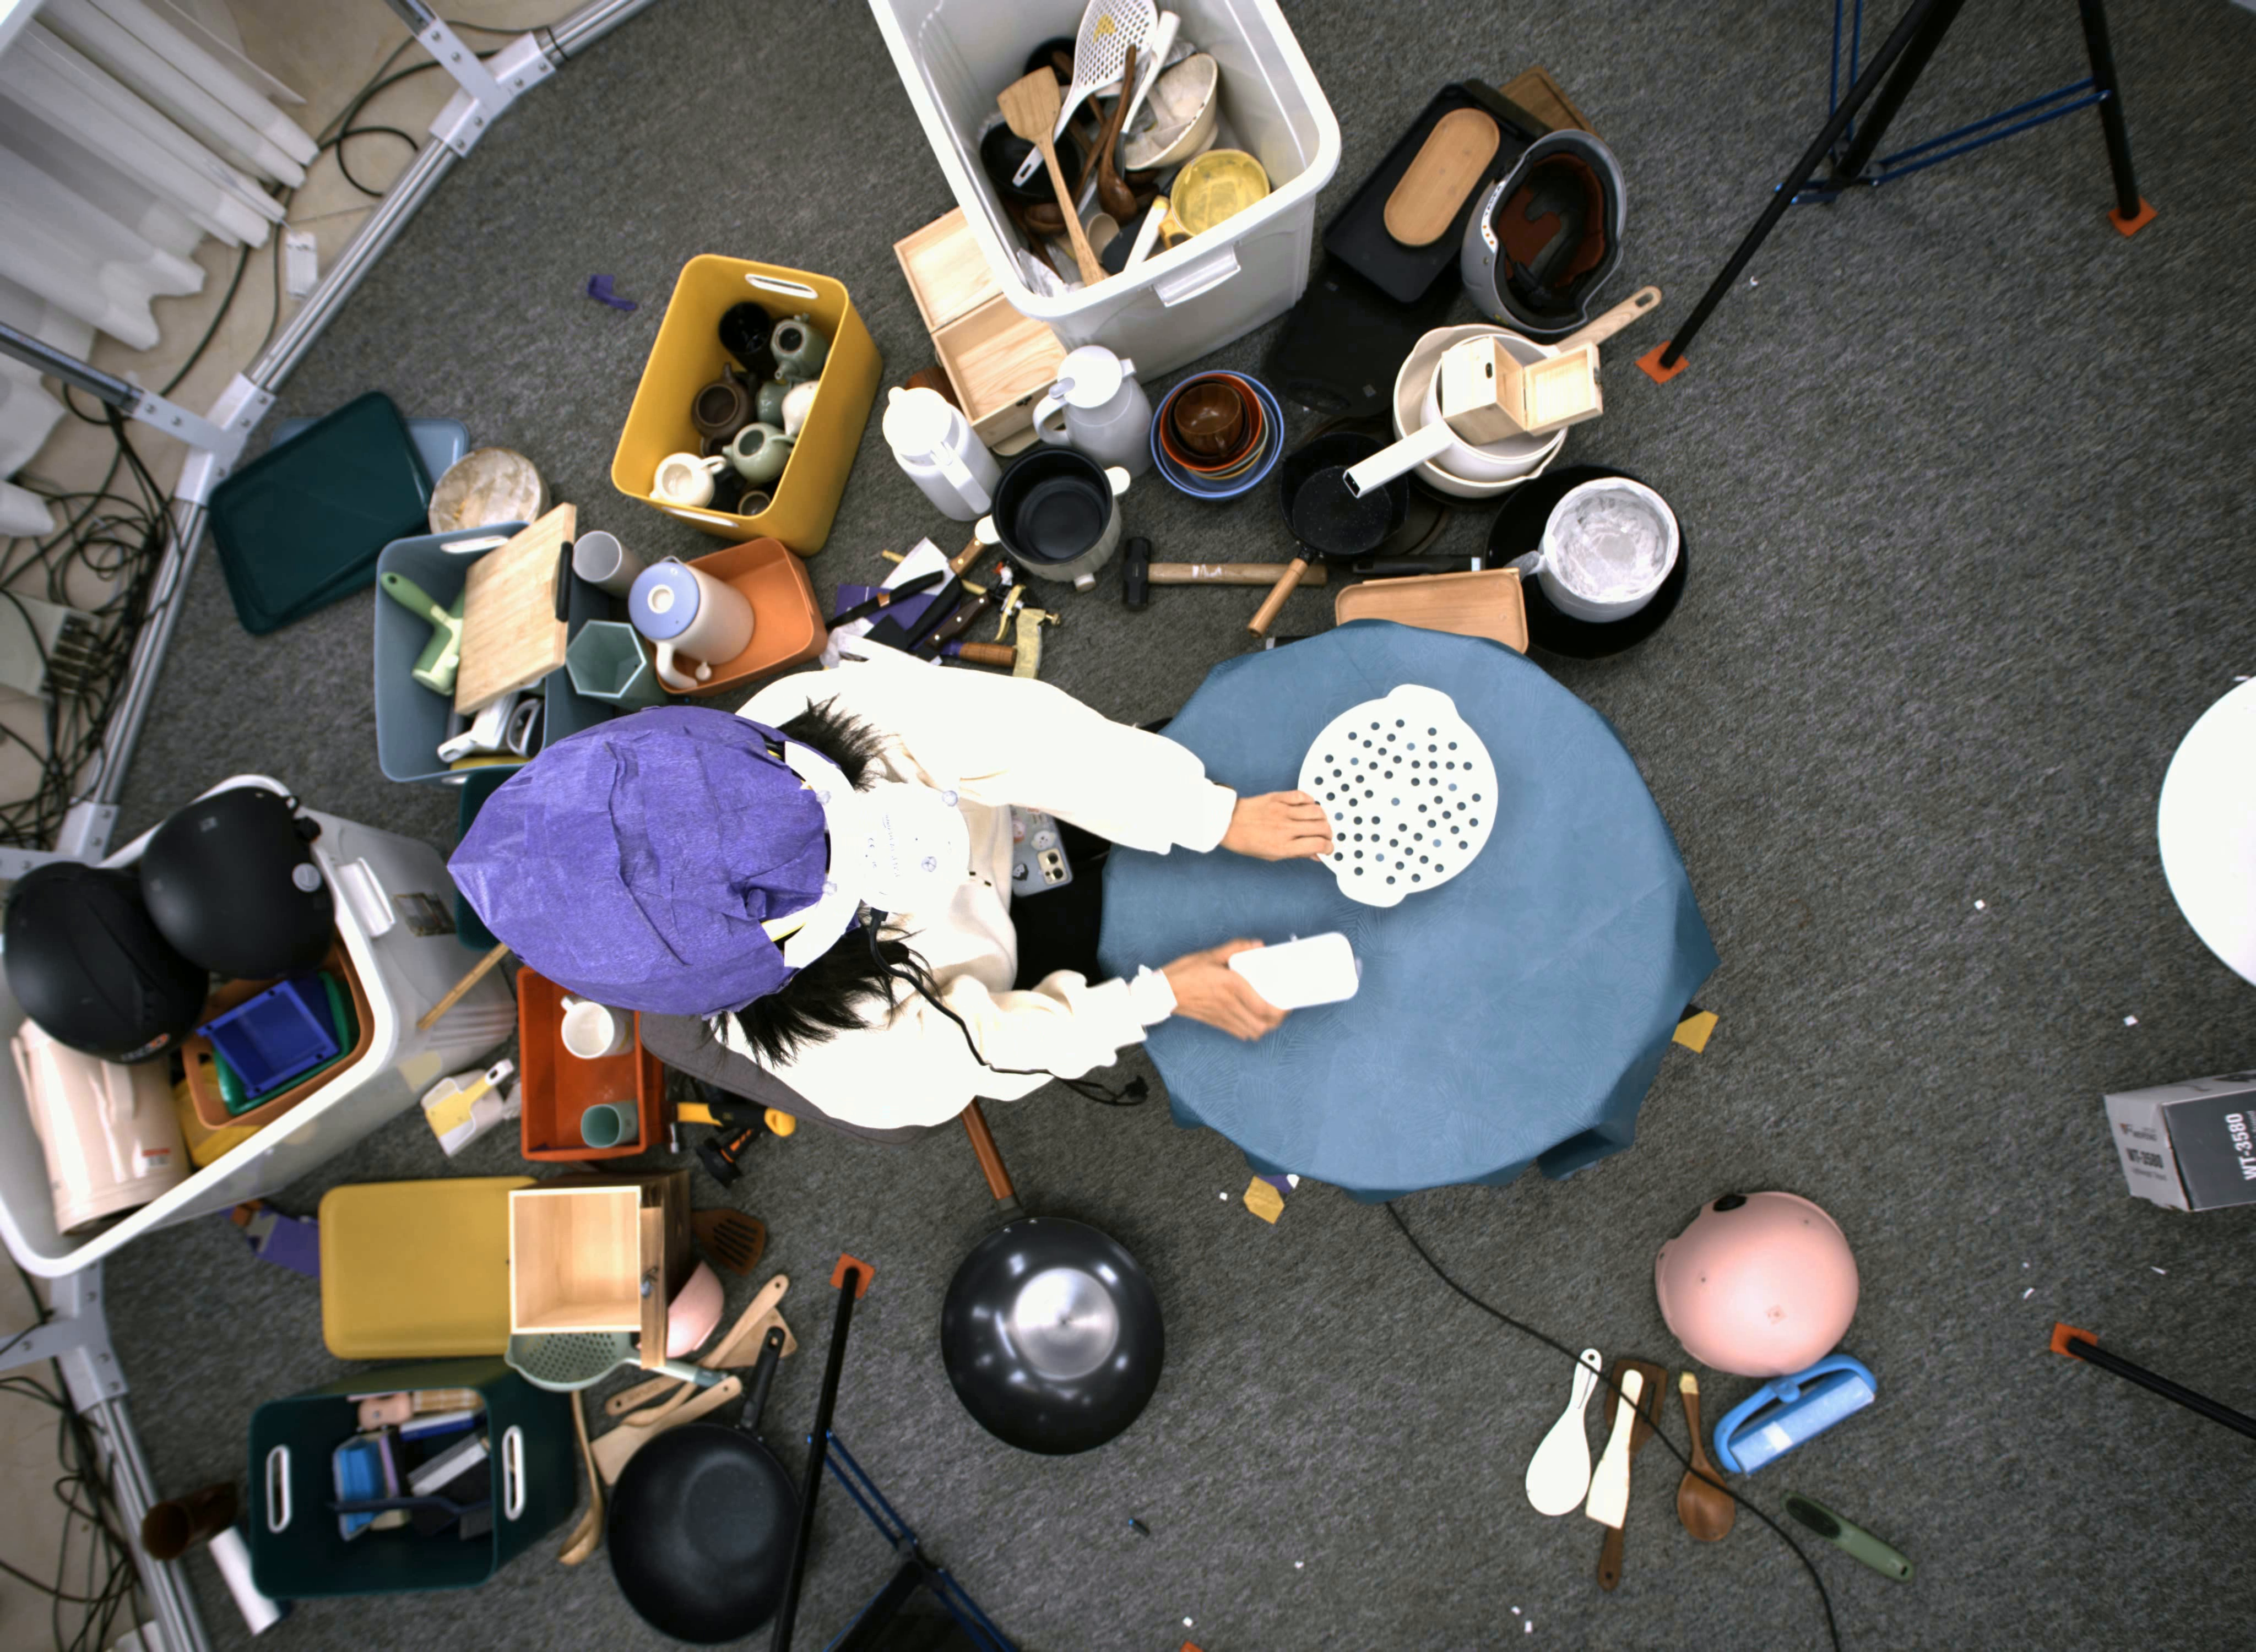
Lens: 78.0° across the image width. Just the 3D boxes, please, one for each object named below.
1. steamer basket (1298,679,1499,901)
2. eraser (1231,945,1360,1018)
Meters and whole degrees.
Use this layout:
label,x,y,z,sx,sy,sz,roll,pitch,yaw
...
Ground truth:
label,x,y,z,sx,sy,sz,roll,pitch,yaw
steamer basket,0.279,-0.036,1.430,0.202,0.069,0.230,16,89,11
eraser,0.171,0.157,1.420,0.132,0.034,0.063,-10,94,24
